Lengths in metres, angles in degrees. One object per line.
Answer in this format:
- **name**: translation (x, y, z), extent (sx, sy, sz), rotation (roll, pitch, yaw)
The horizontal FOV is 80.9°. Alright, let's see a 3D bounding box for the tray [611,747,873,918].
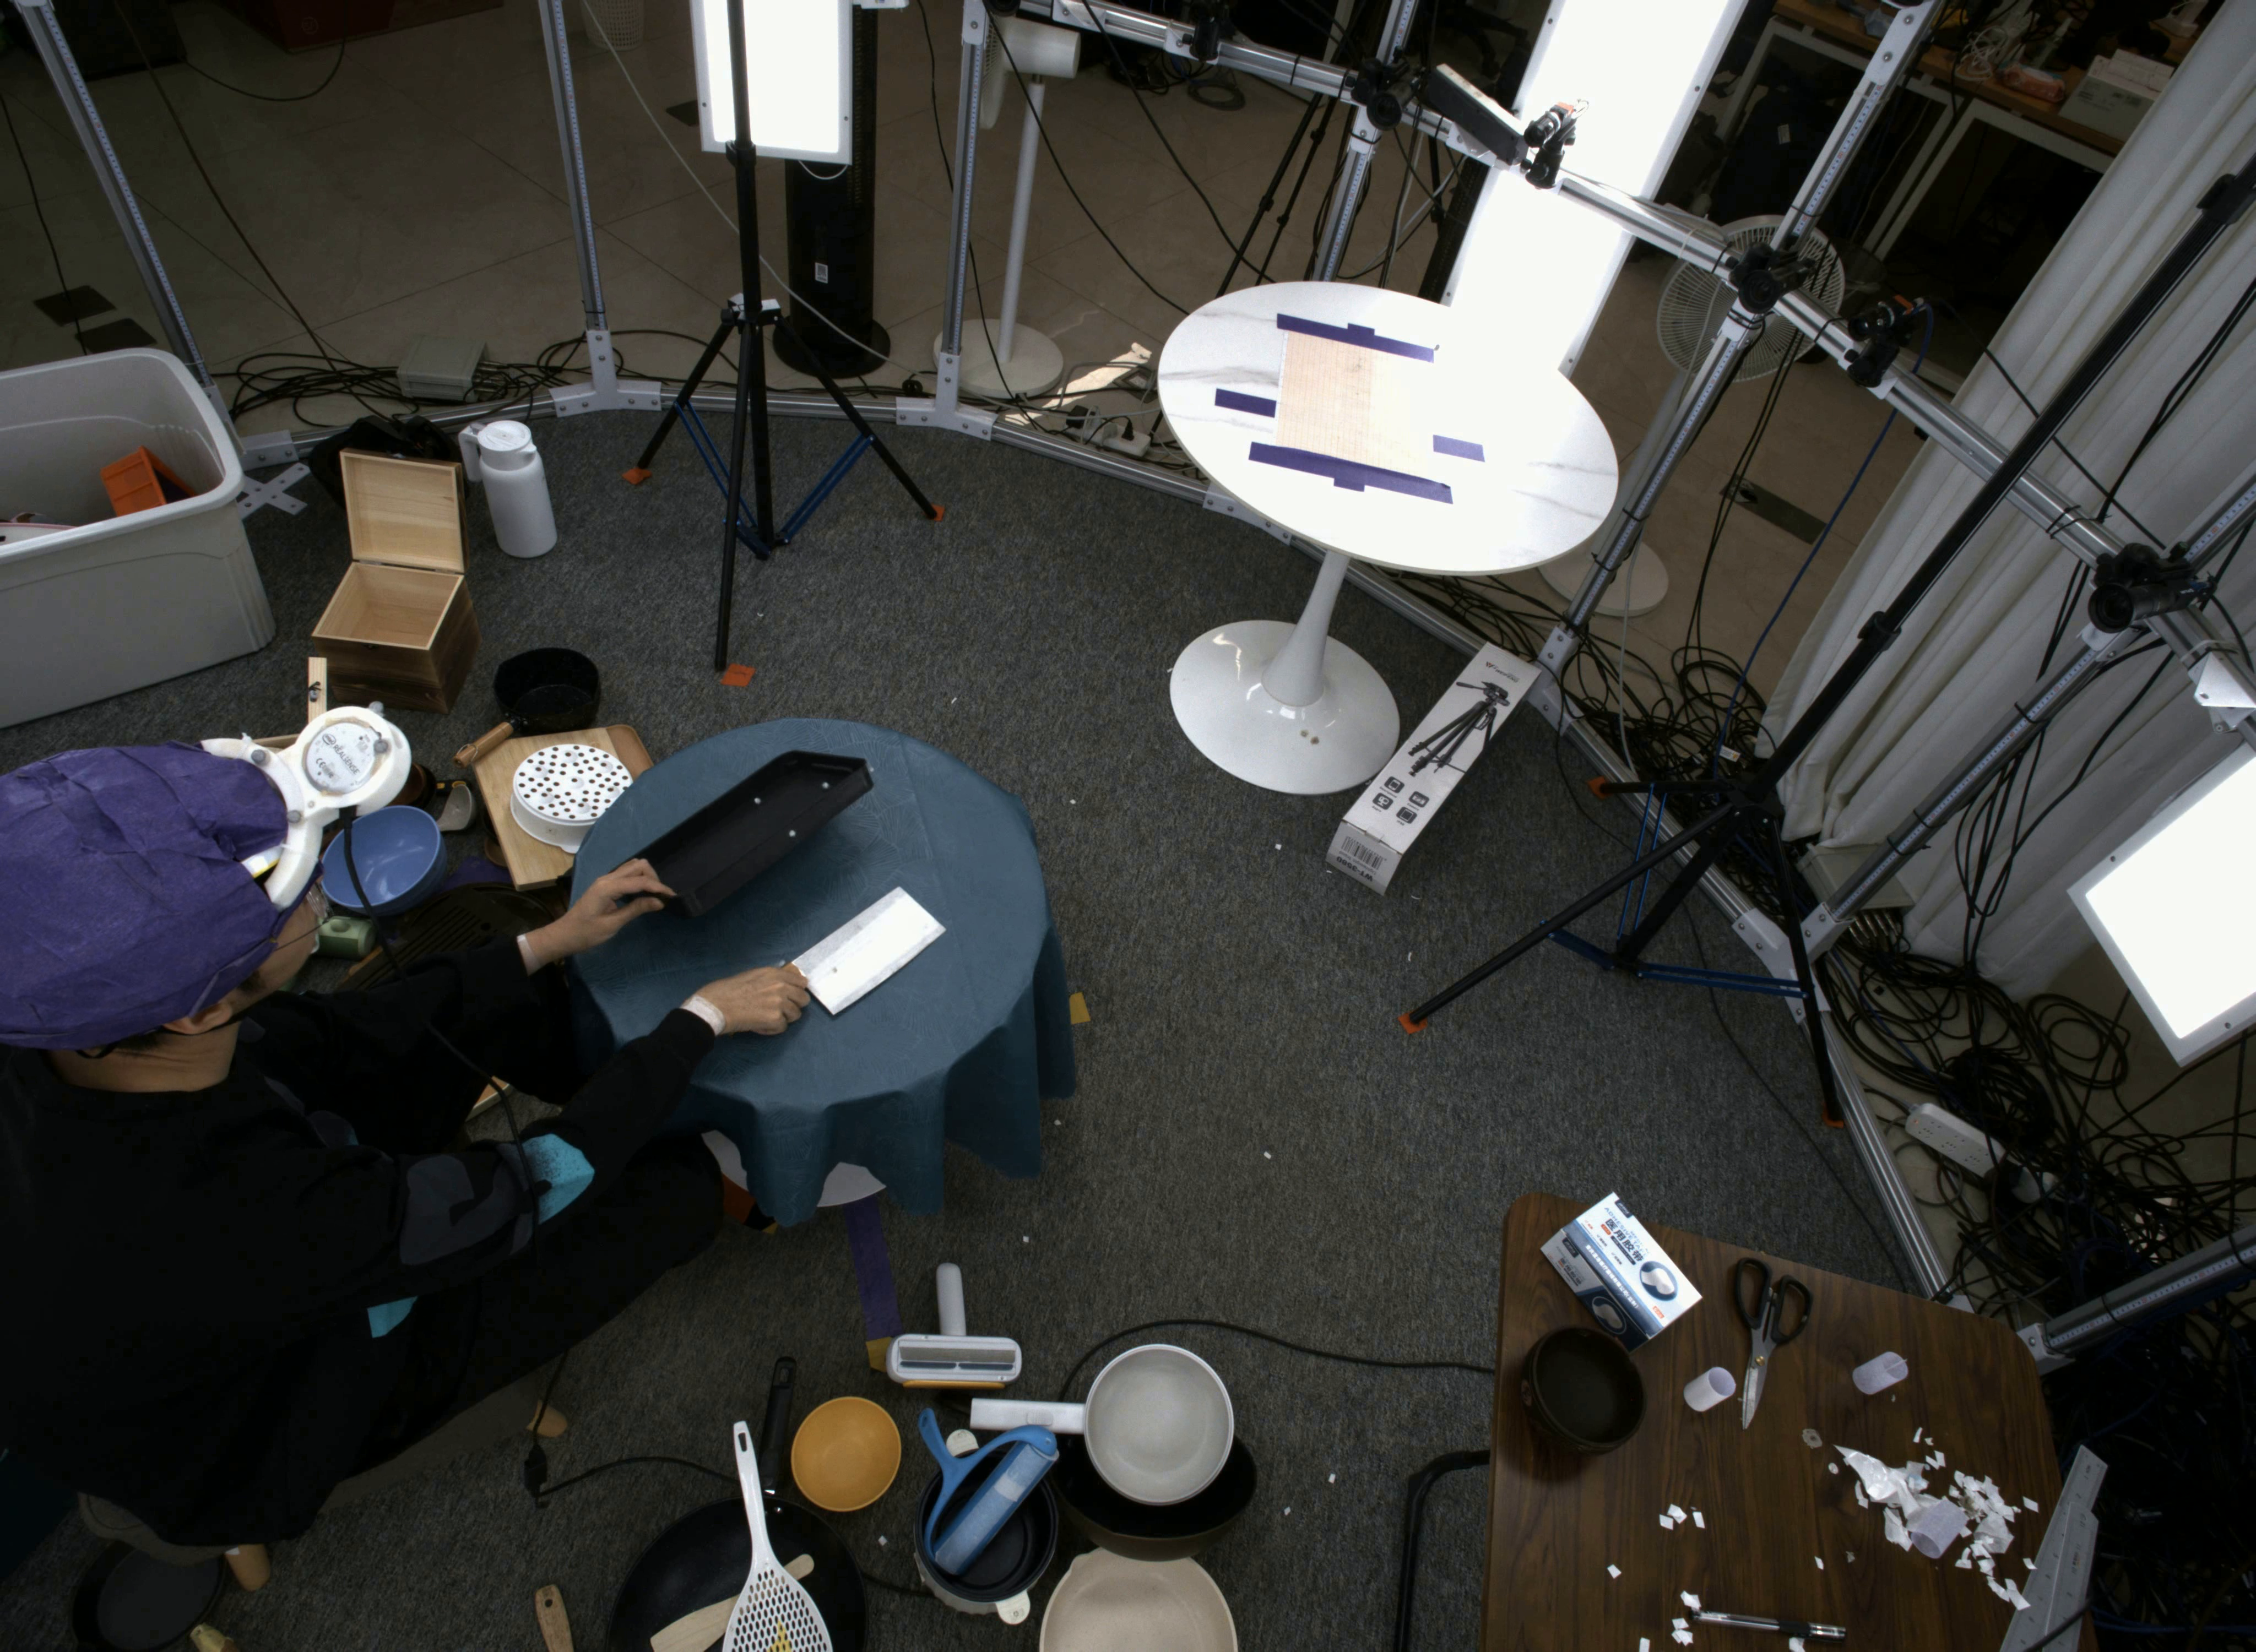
- **tray**: translation (-0.477, -0.001, 1.610), extent (0.178, 0.038, 0.318), rotation (7, 37, 37)

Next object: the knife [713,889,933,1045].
- **knife**: translation (-0.362, 0.179, 1.586), extent (0.091, 0.021, 0.306), rotation (41, 52, 14)
